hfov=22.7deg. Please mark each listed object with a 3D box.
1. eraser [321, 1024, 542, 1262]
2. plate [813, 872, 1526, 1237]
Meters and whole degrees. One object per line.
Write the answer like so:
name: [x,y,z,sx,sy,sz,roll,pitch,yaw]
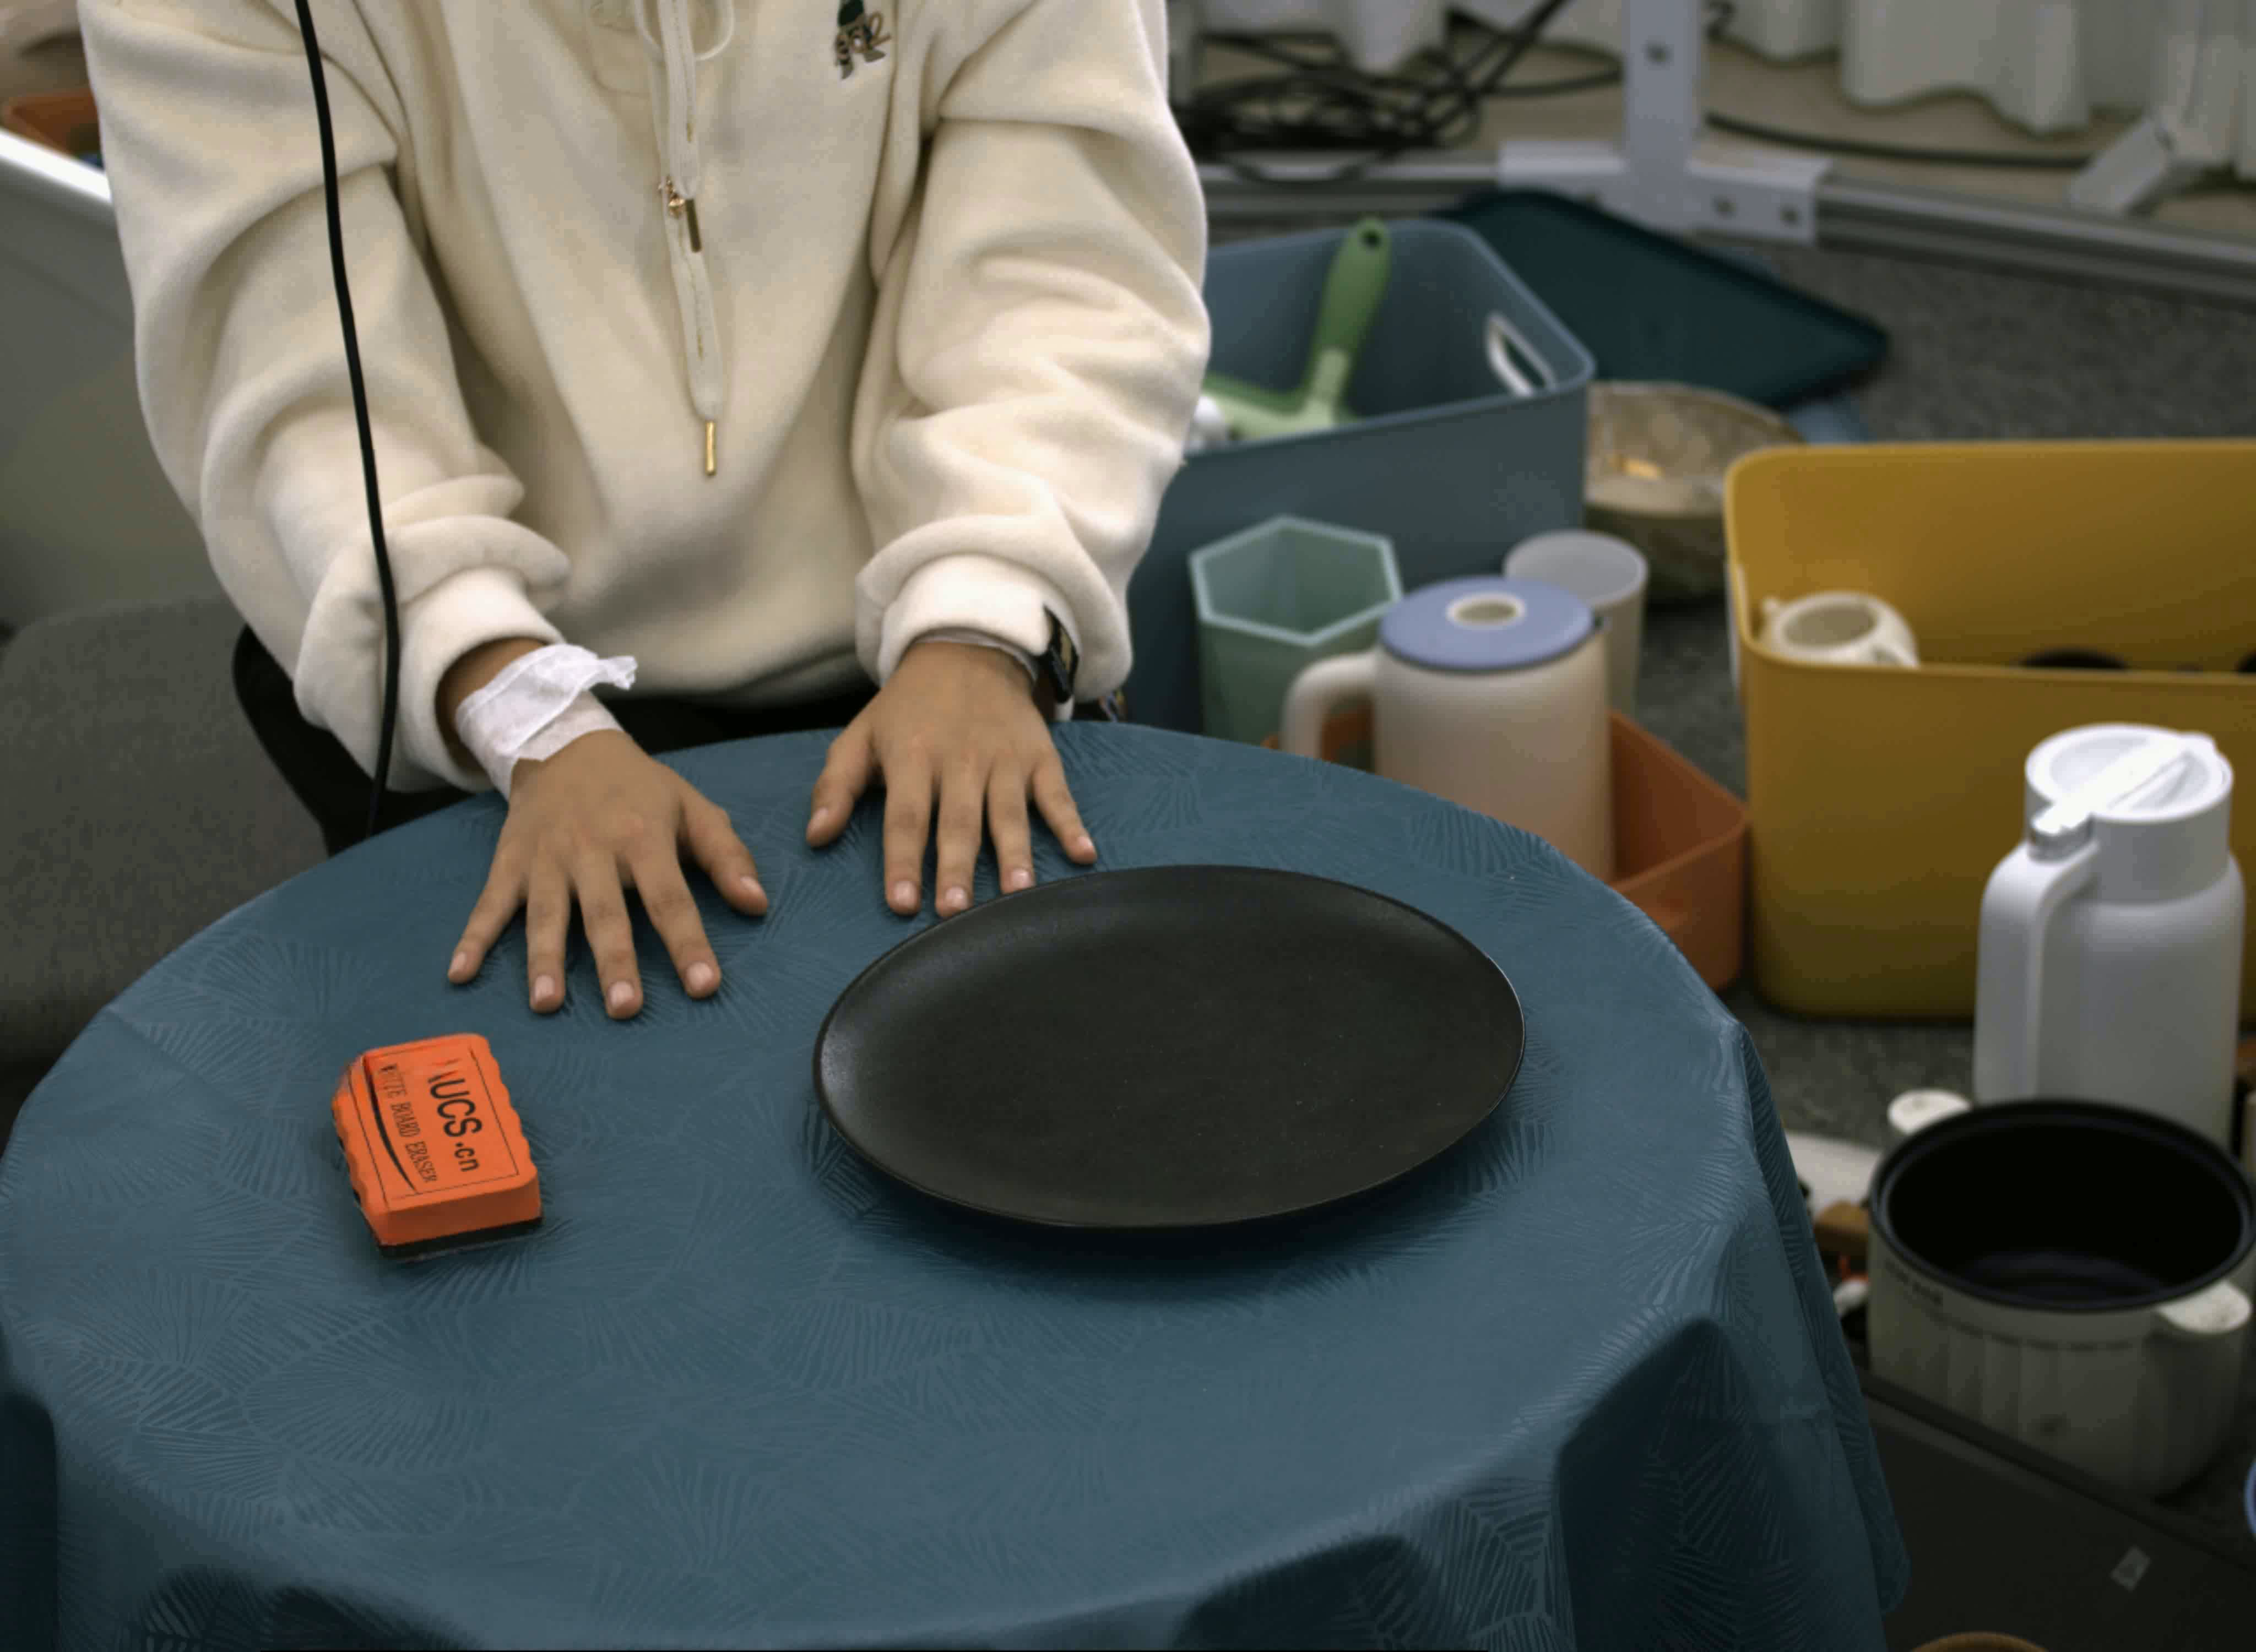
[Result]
eraser: [-0.234,0.106,1.883,0.059,0.022,0.109,-11,31,-13]
plate: [0.014,0.081,1.912,0.243,0.023,0.248,-2,27,2]
